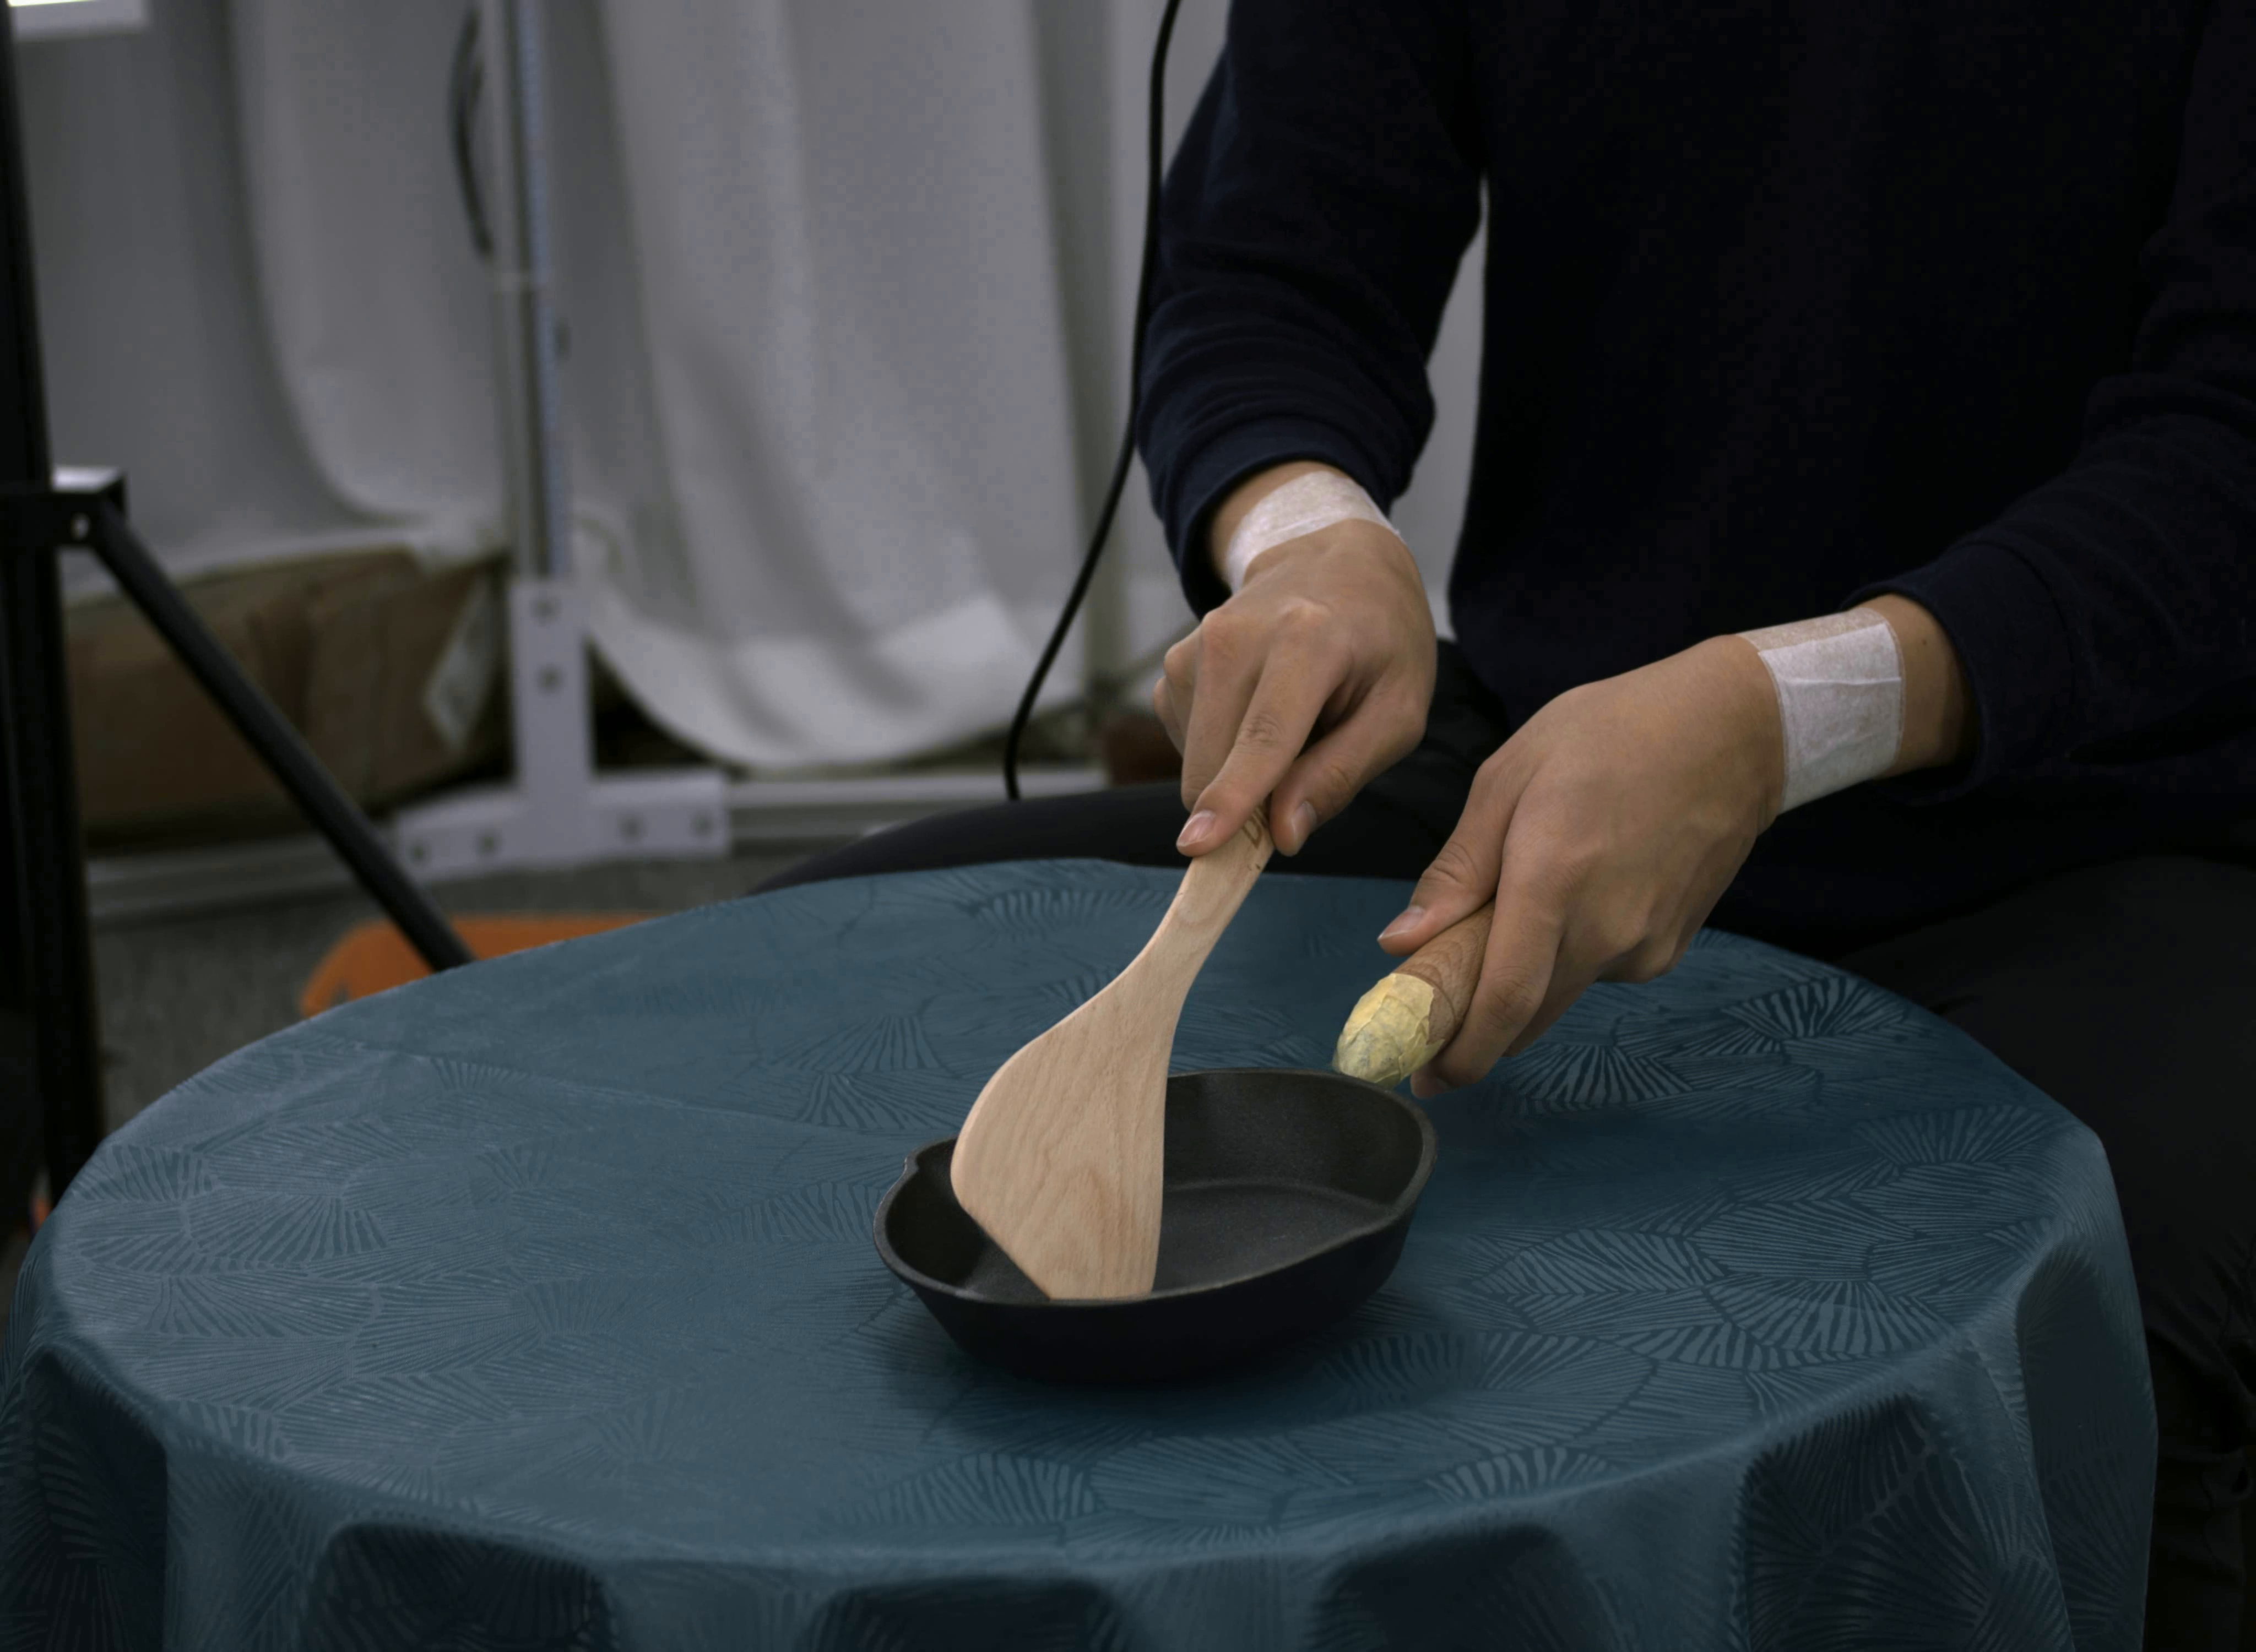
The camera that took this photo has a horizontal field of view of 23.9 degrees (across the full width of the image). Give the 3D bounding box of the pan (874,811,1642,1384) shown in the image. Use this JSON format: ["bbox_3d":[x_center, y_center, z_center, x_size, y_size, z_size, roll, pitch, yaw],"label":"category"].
[{"bbox_3d":[0.060,0.074,1.511,0.172,0.049,0.318,6,26,40],"label":"pan"}]

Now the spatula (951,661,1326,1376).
[{"bbox_3d":[0.015,0.041,1.515,0.017,0.079,0.326,-28,20,31],"label":"spatula"}]
